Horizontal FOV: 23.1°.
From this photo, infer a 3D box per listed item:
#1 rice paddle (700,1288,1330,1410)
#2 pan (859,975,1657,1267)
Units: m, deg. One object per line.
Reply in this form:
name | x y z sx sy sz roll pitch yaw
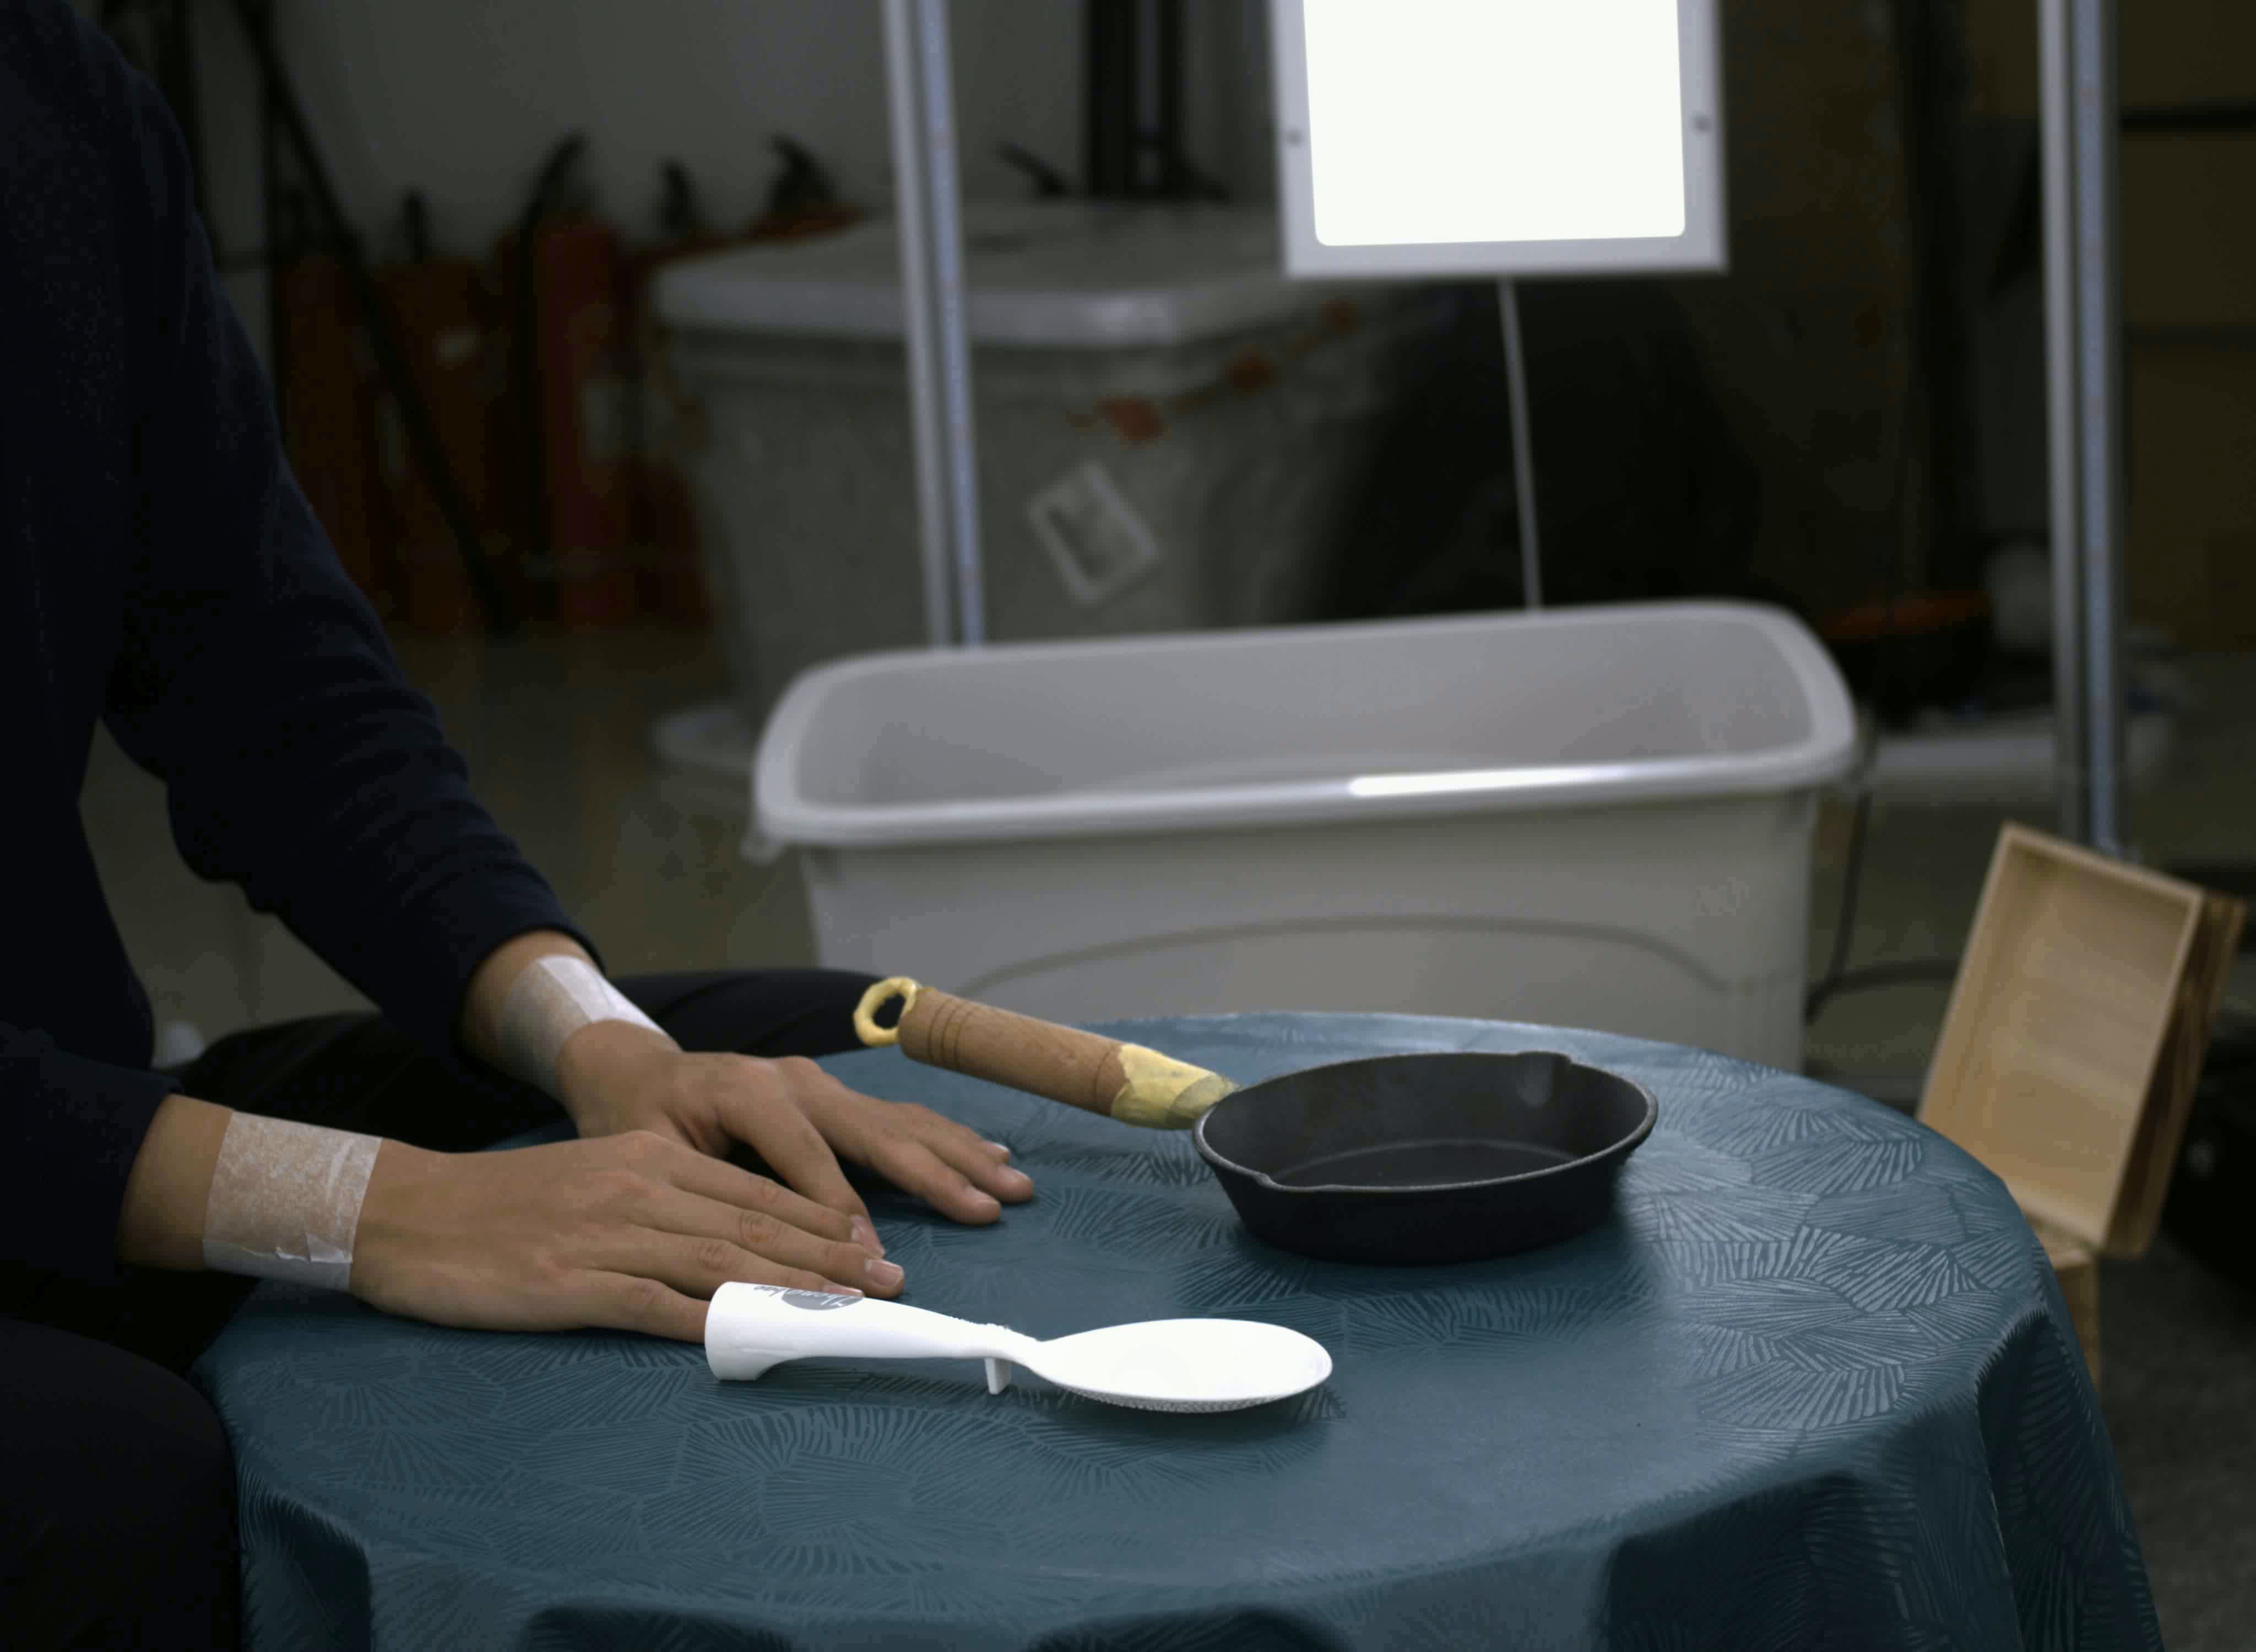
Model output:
rice paddle | -0.035 0.161 1.708 0.208 0.029 0.067 0 17 23
pan | 0.035 0.096 1.901 0.331 0.050 0.164 9 19 40
